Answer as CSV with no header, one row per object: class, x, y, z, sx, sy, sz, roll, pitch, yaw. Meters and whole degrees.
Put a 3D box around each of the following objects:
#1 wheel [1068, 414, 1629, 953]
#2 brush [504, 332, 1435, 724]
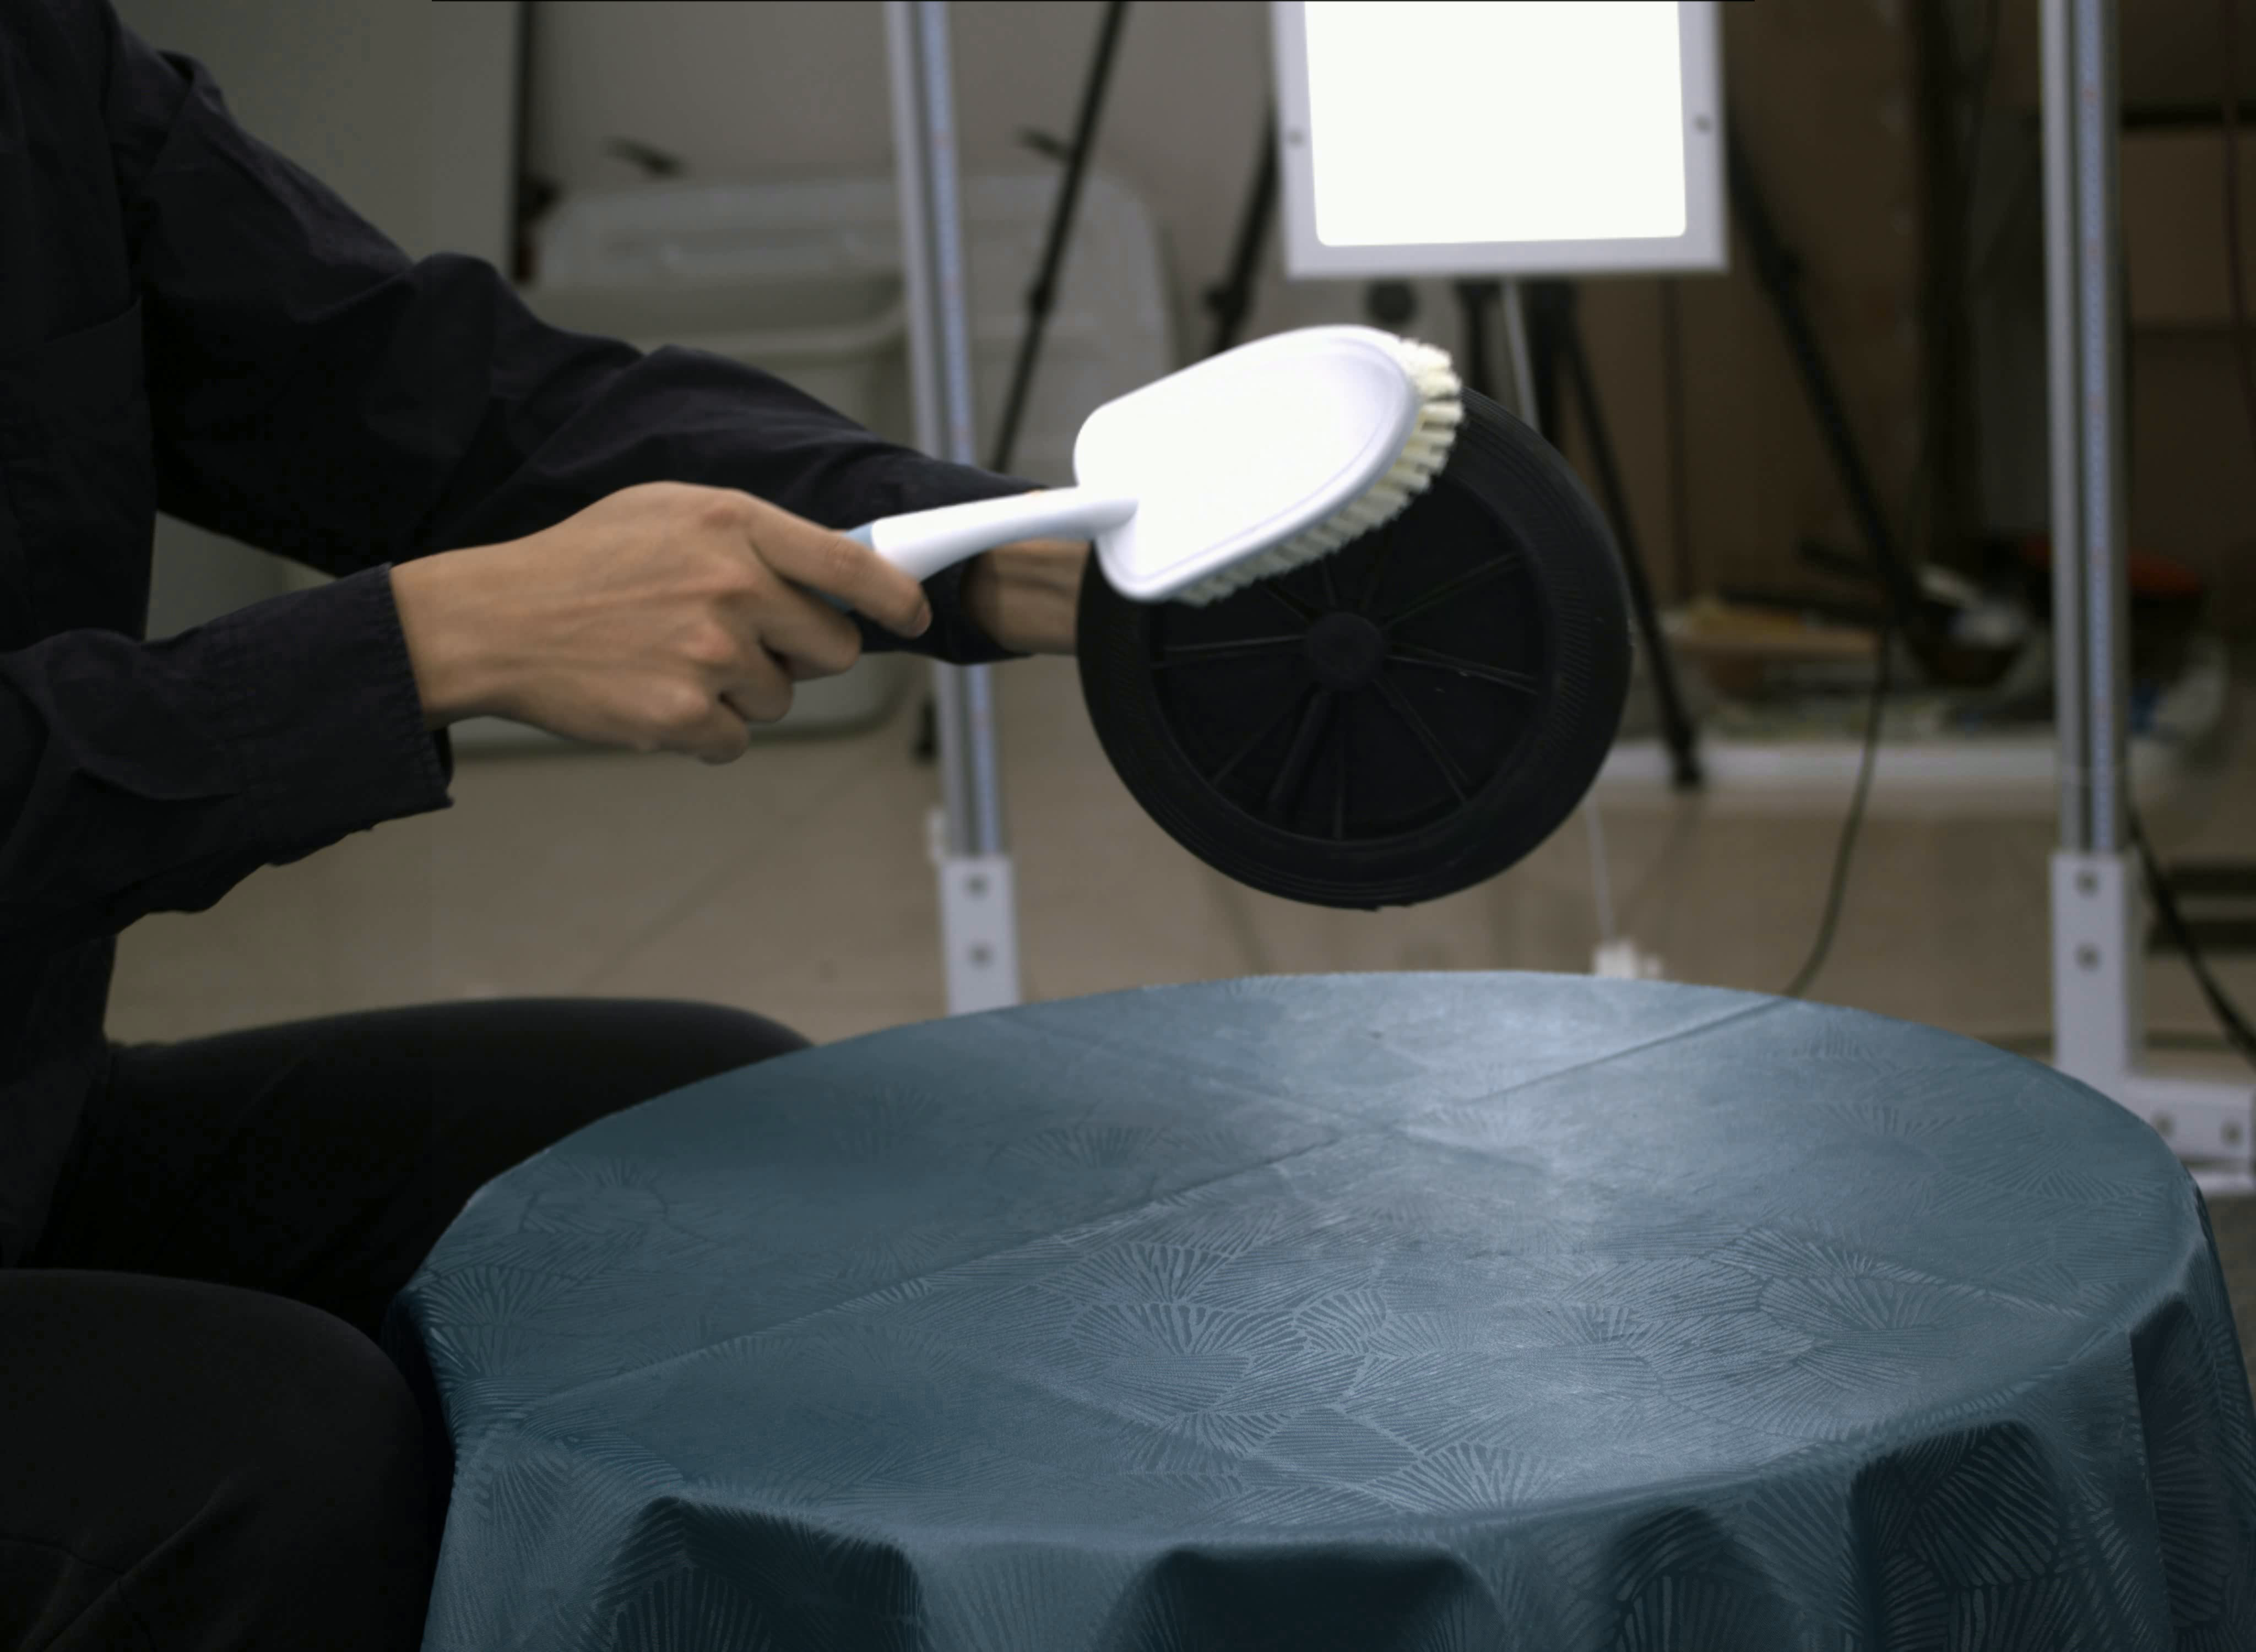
wheel,0.077,-0.055,1.866,0.189,0.189,0.078,24,22,2
brush,-0.051,-0.093,1.811,0.329,0.084,0.083,-19,40,17
